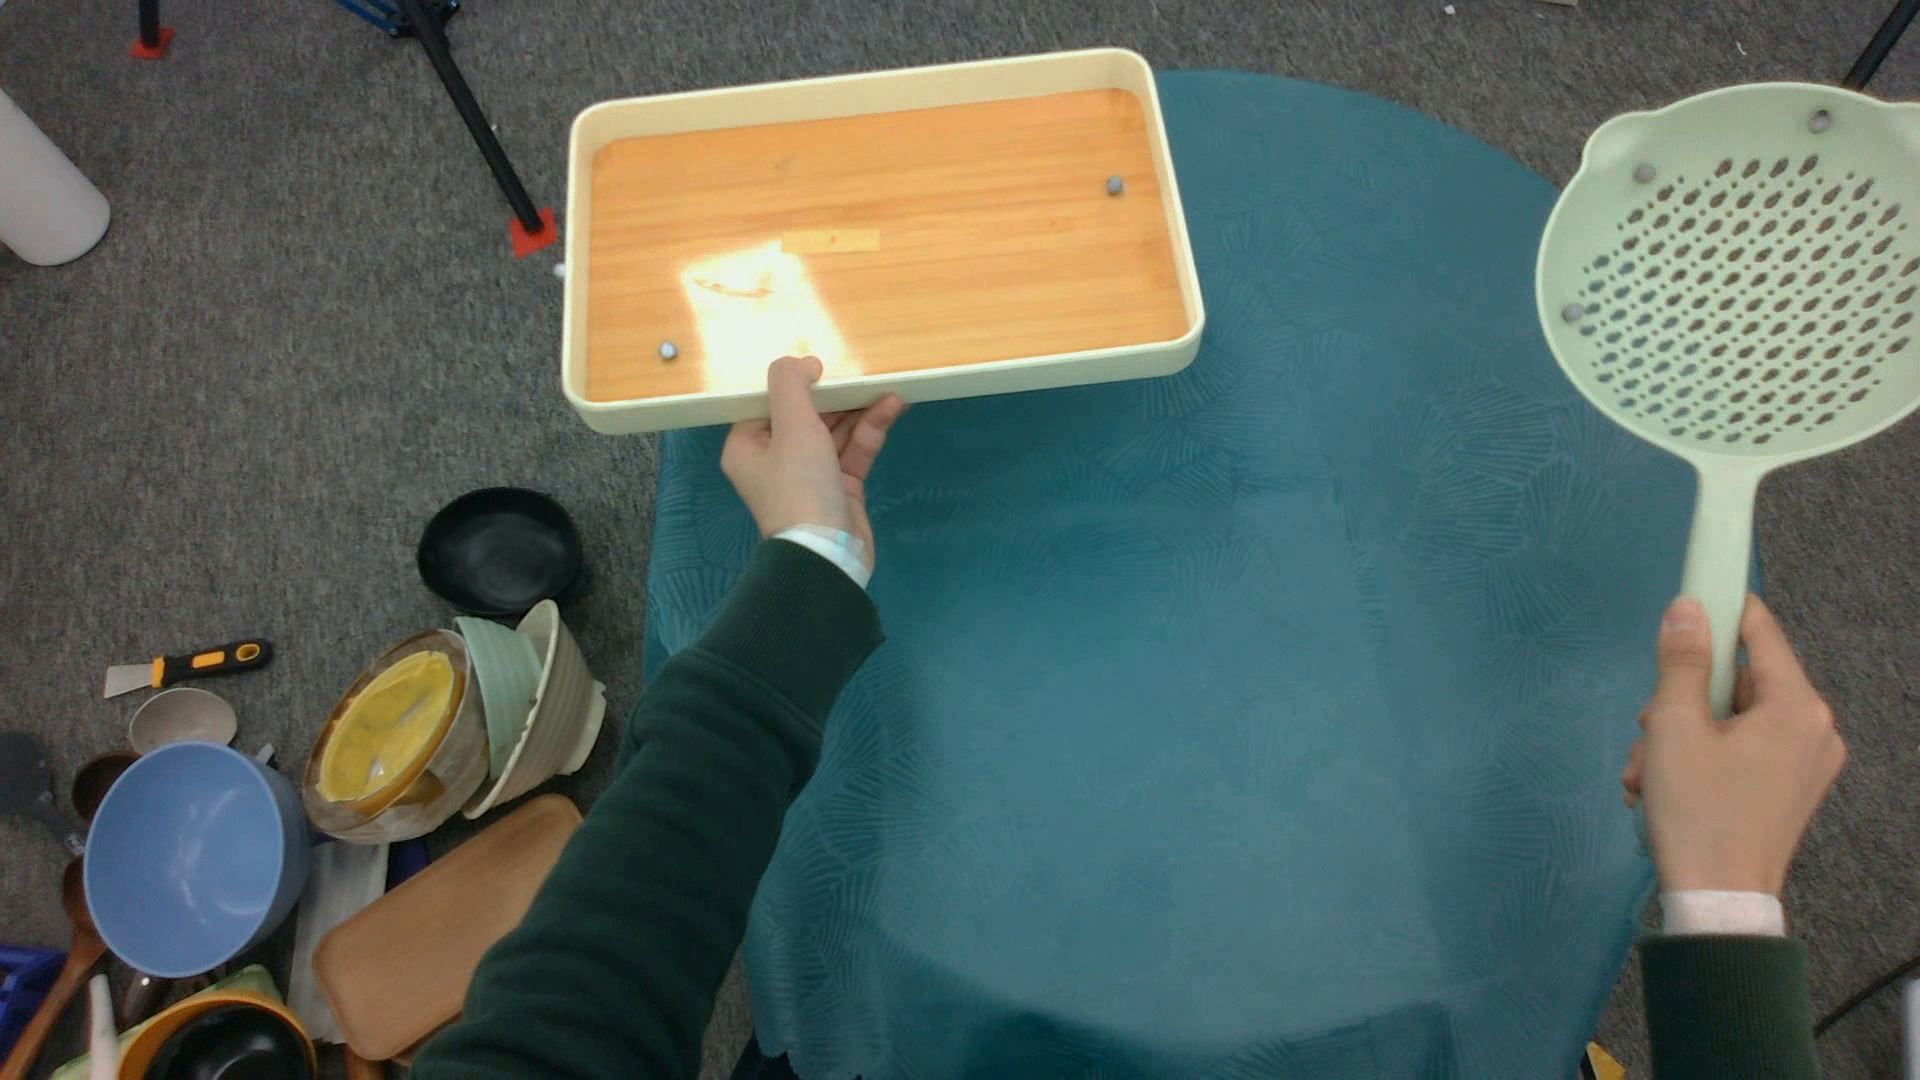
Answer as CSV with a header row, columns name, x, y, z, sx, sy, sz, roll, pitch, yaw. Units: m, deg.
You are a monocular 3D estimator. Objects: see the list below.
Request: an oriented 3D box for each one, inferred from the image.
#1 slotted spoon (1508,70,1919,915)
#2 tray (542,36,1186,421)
name,x,y,z,sx,sy,sz,roll,pitch,yaw
slotted spoon,0.310,-0.026,0.581,0.169,0.075,0.360,7,72,25
tray,-0.051,-0.158,0.681,0.300,0.027,0.192,-6,62,-1
